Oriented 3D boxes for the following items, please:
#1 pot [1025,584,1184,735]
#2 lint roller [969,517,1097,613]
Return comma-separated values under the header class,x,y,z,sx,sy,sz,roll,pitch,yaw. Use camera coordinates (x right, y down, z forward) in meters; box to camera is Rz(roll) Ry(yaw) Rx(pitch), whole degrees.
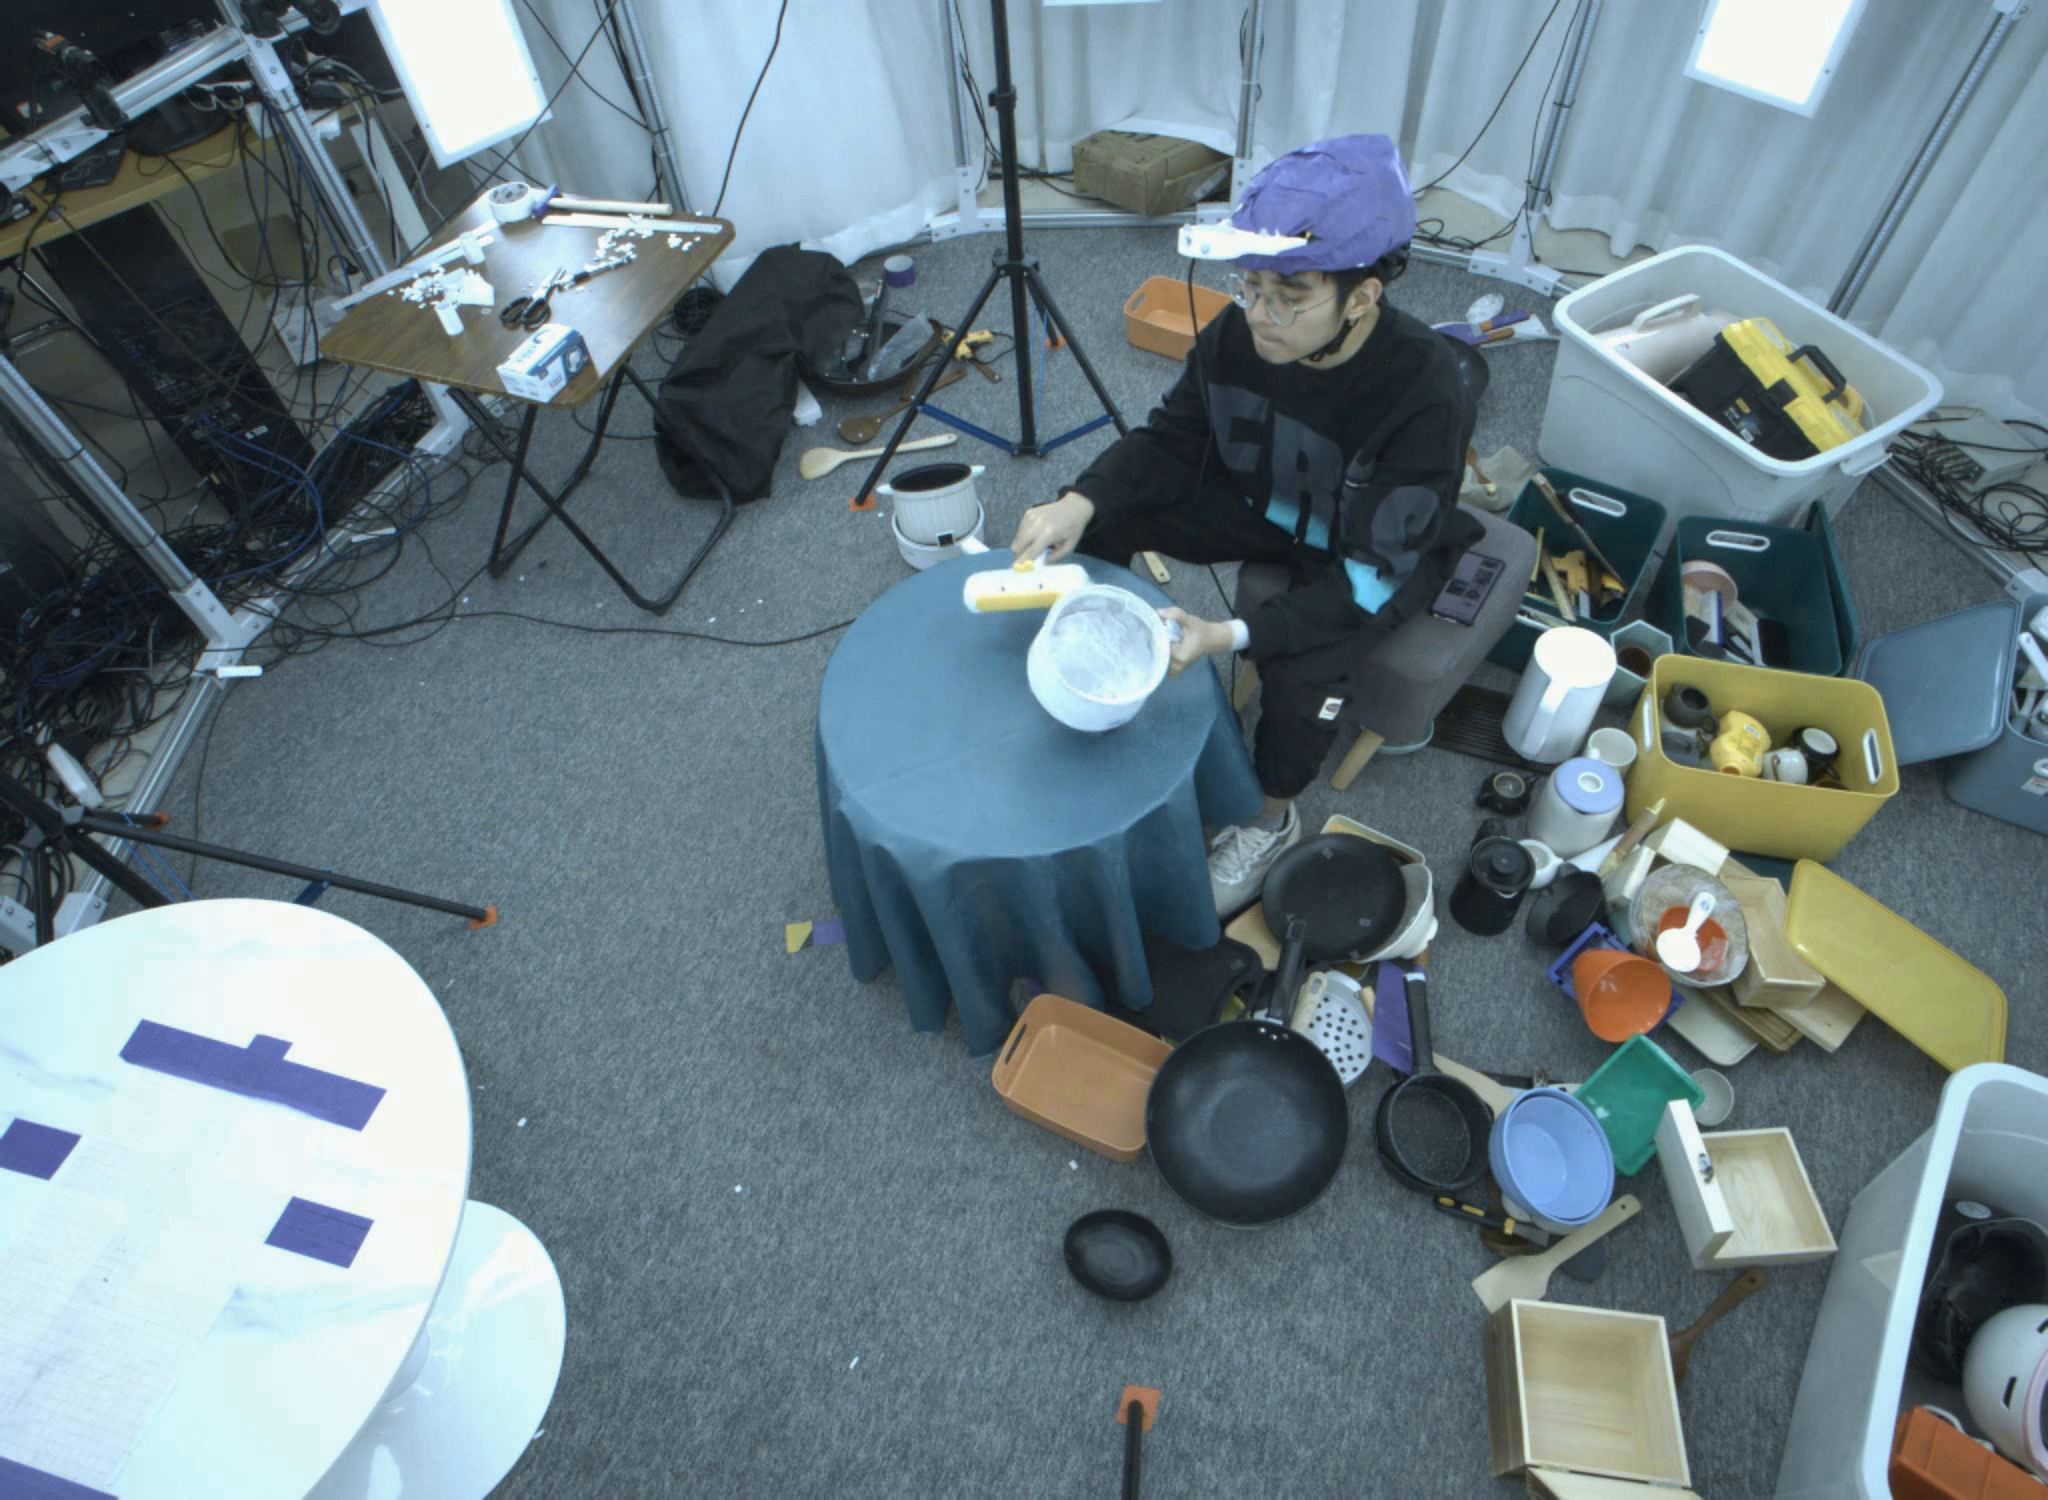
class,x,y,z,sx,sy,sz,roll,pitch,yaw
pot,0.121,-0.131,1.711,0.236,0.136,0.177,-19,80,-19
lint roller,0.016,-0.283,1.862,0.191,0.075,0.191,-7,40,13
